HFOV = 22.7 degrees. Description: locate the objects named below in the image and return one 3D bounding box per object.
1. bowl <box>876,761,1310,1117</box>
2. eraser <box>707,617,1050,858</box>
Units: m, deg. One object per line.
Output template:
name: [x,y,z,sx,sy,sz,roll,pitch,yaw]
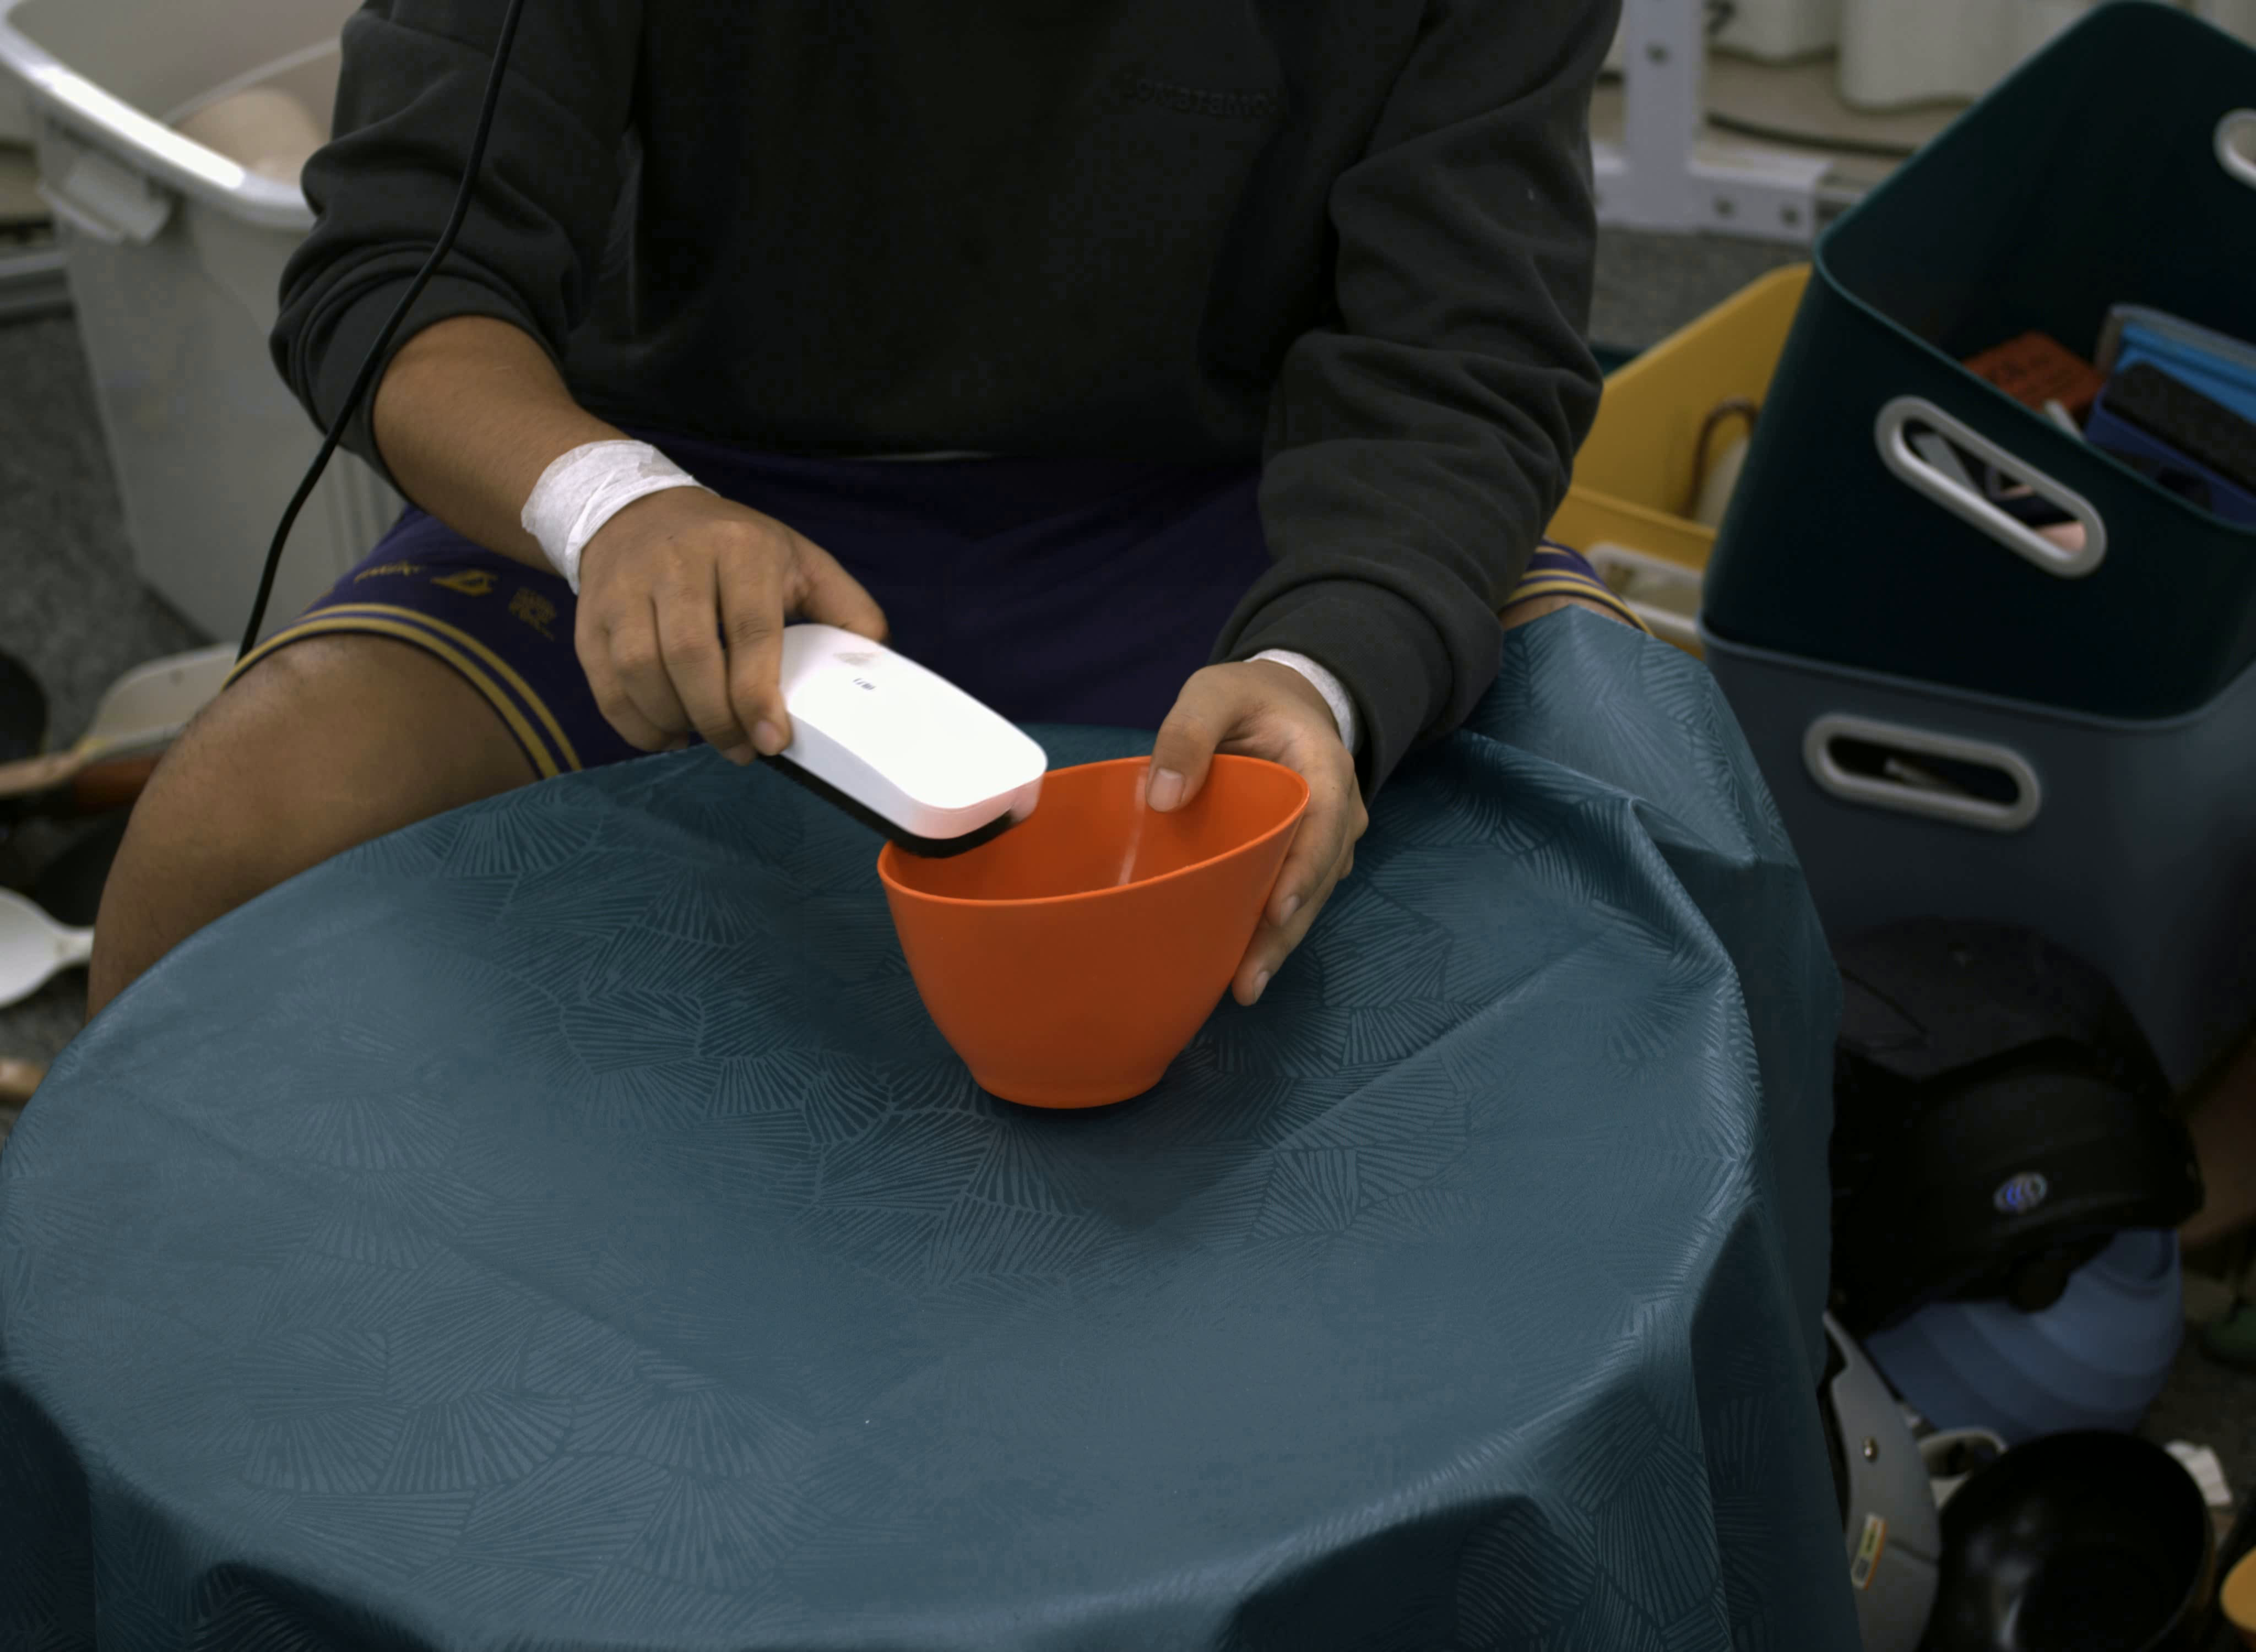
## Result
bowl: [-0.012,0.040,1.906,0.147,0.104,0.150,-1,20,1]
eraser: [-0.087,-0.035,1.954,0.064,0.034,0.131,-19,40,-41]
